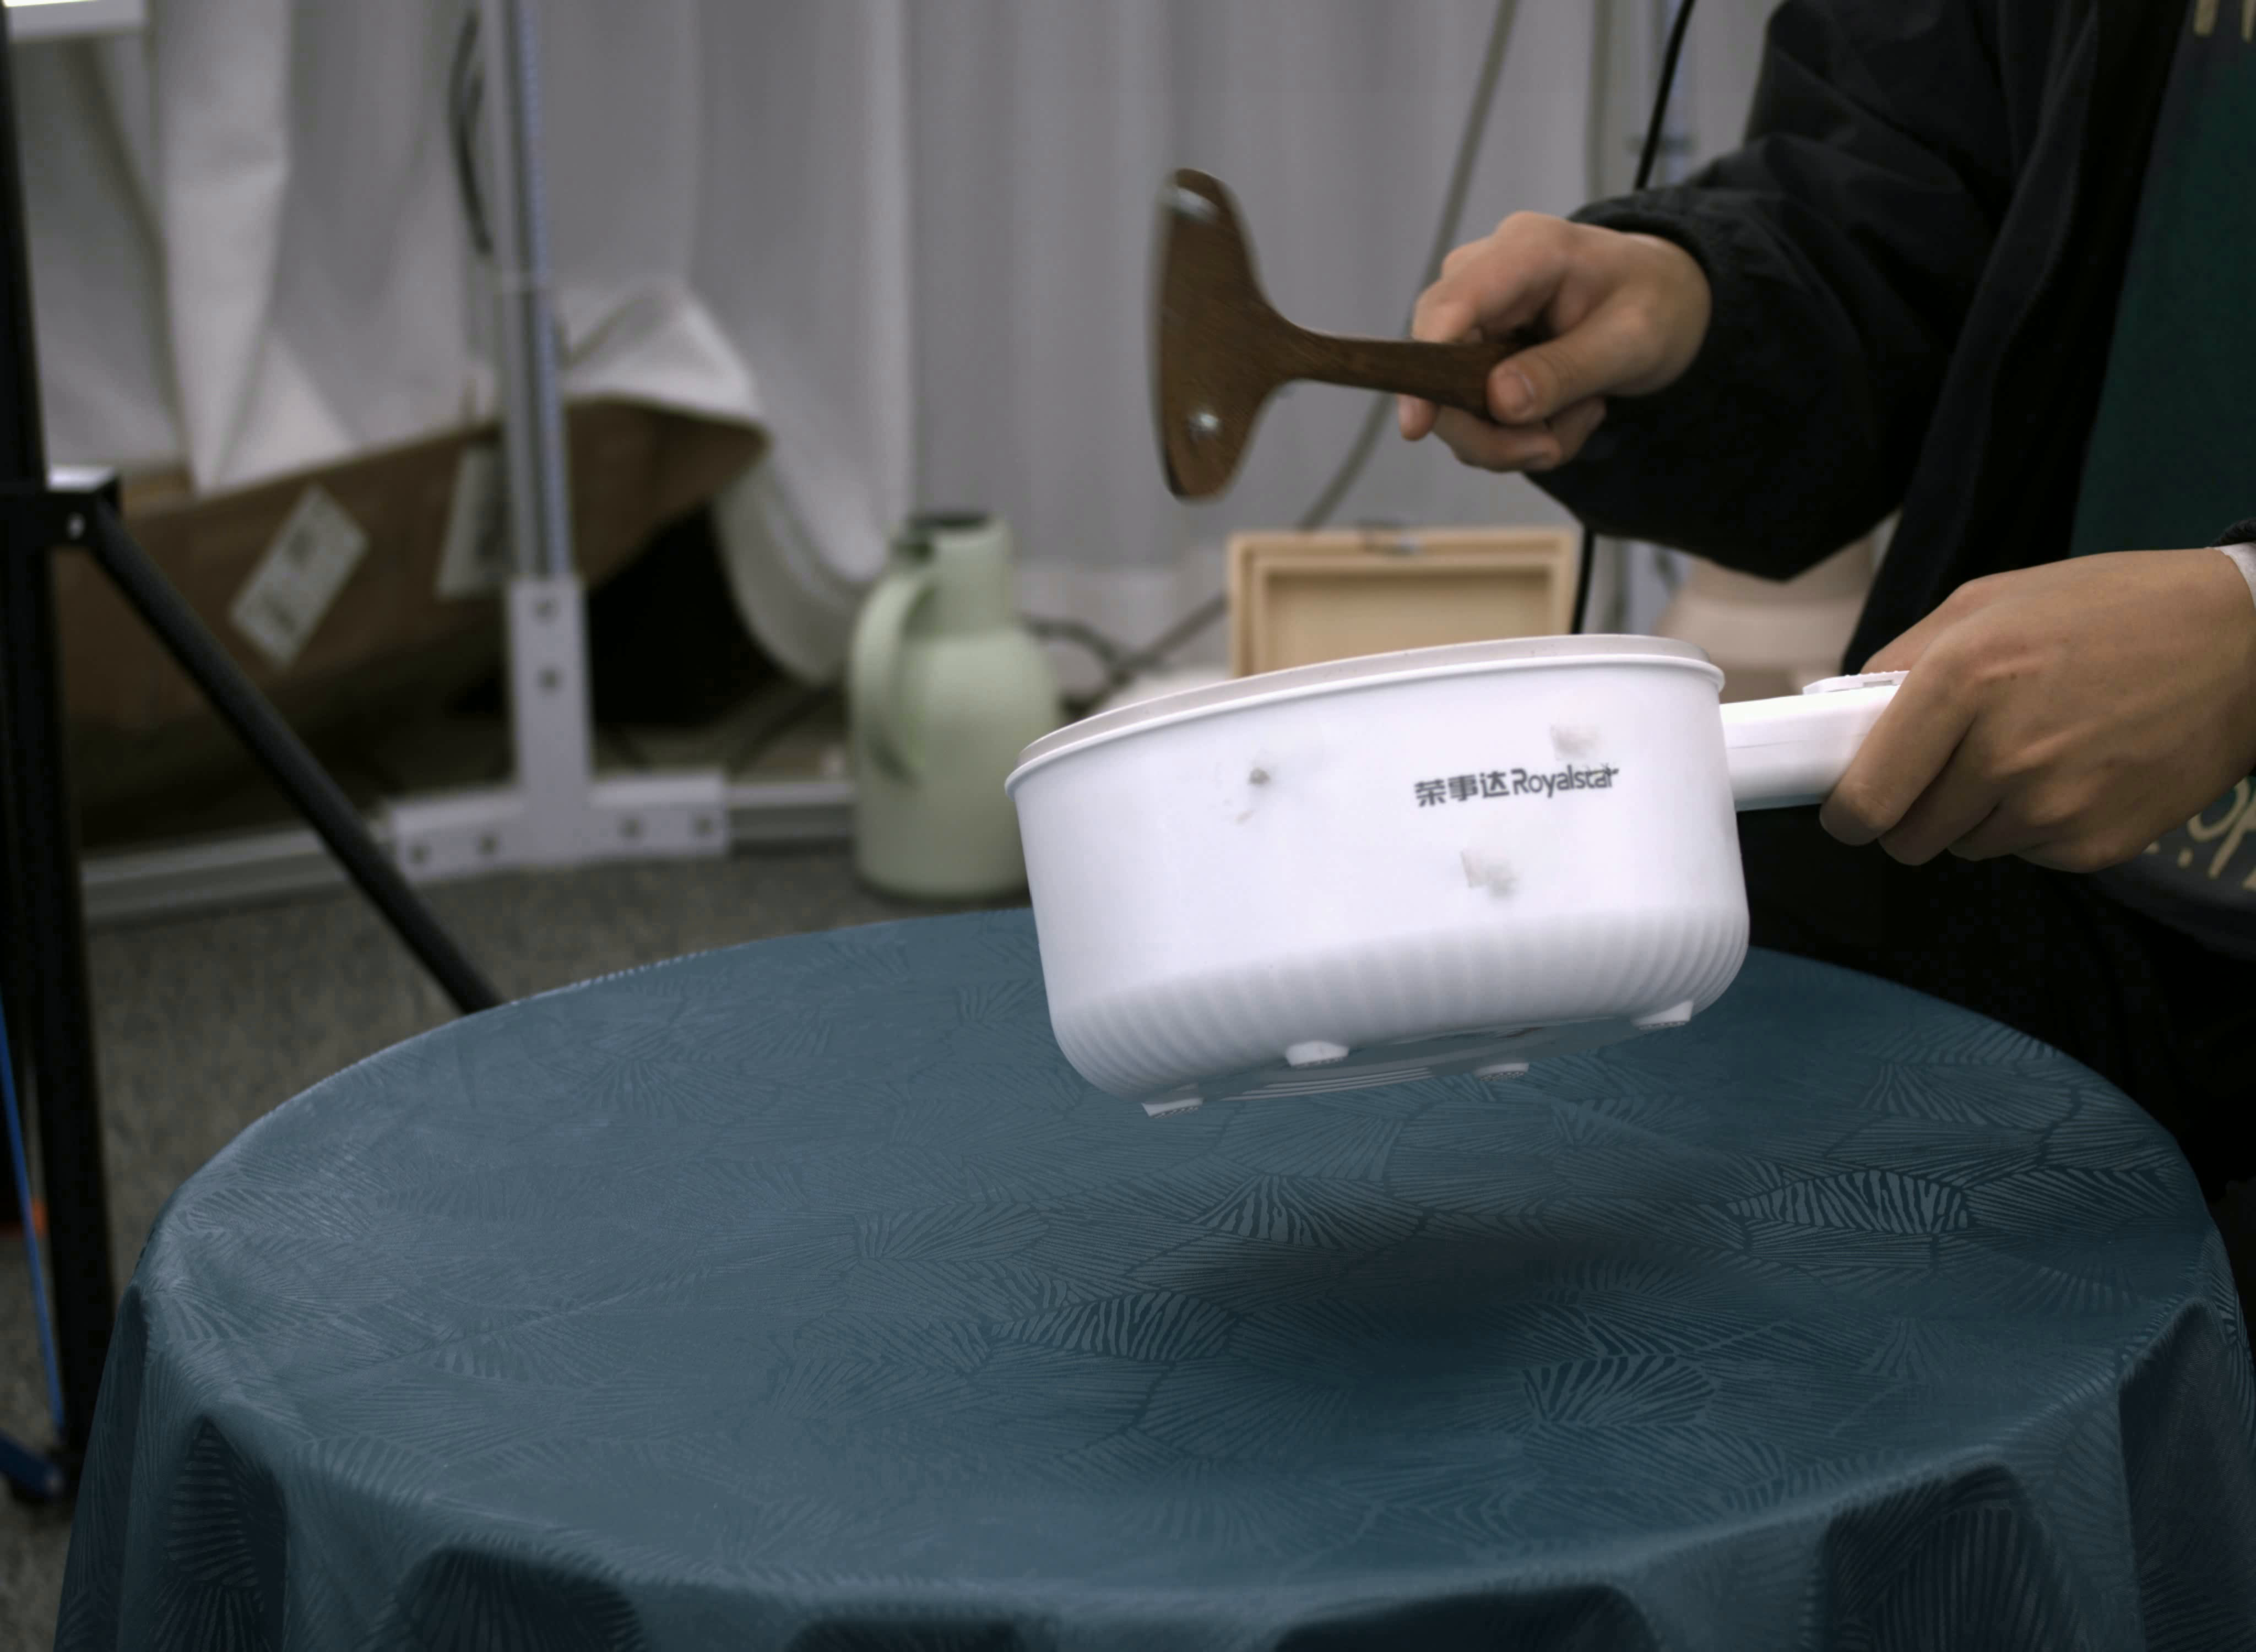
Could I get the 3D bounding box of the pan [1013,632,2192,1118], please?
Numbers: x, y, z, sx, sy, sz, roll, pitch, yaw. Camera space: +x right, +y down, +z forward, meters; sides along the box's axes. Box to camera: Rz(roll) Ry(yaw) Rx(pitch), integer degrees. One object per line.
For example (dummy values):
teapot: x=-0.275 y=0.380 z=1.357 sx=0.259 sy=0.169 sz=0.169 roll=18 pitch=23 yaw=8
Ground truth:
pan: x=0.143 y=0.015 z=1.484 sx=0.348 sy=0.103 sz=0.203 roll=-3 pitch=-10 yaw=-21

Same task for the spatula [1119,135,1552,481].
spatula: x=0.072 y=-0.147 z=1.651 sx=0.016 sy=0.096 sz=0.379 roll=-3 pitch=-1 yaw=23
